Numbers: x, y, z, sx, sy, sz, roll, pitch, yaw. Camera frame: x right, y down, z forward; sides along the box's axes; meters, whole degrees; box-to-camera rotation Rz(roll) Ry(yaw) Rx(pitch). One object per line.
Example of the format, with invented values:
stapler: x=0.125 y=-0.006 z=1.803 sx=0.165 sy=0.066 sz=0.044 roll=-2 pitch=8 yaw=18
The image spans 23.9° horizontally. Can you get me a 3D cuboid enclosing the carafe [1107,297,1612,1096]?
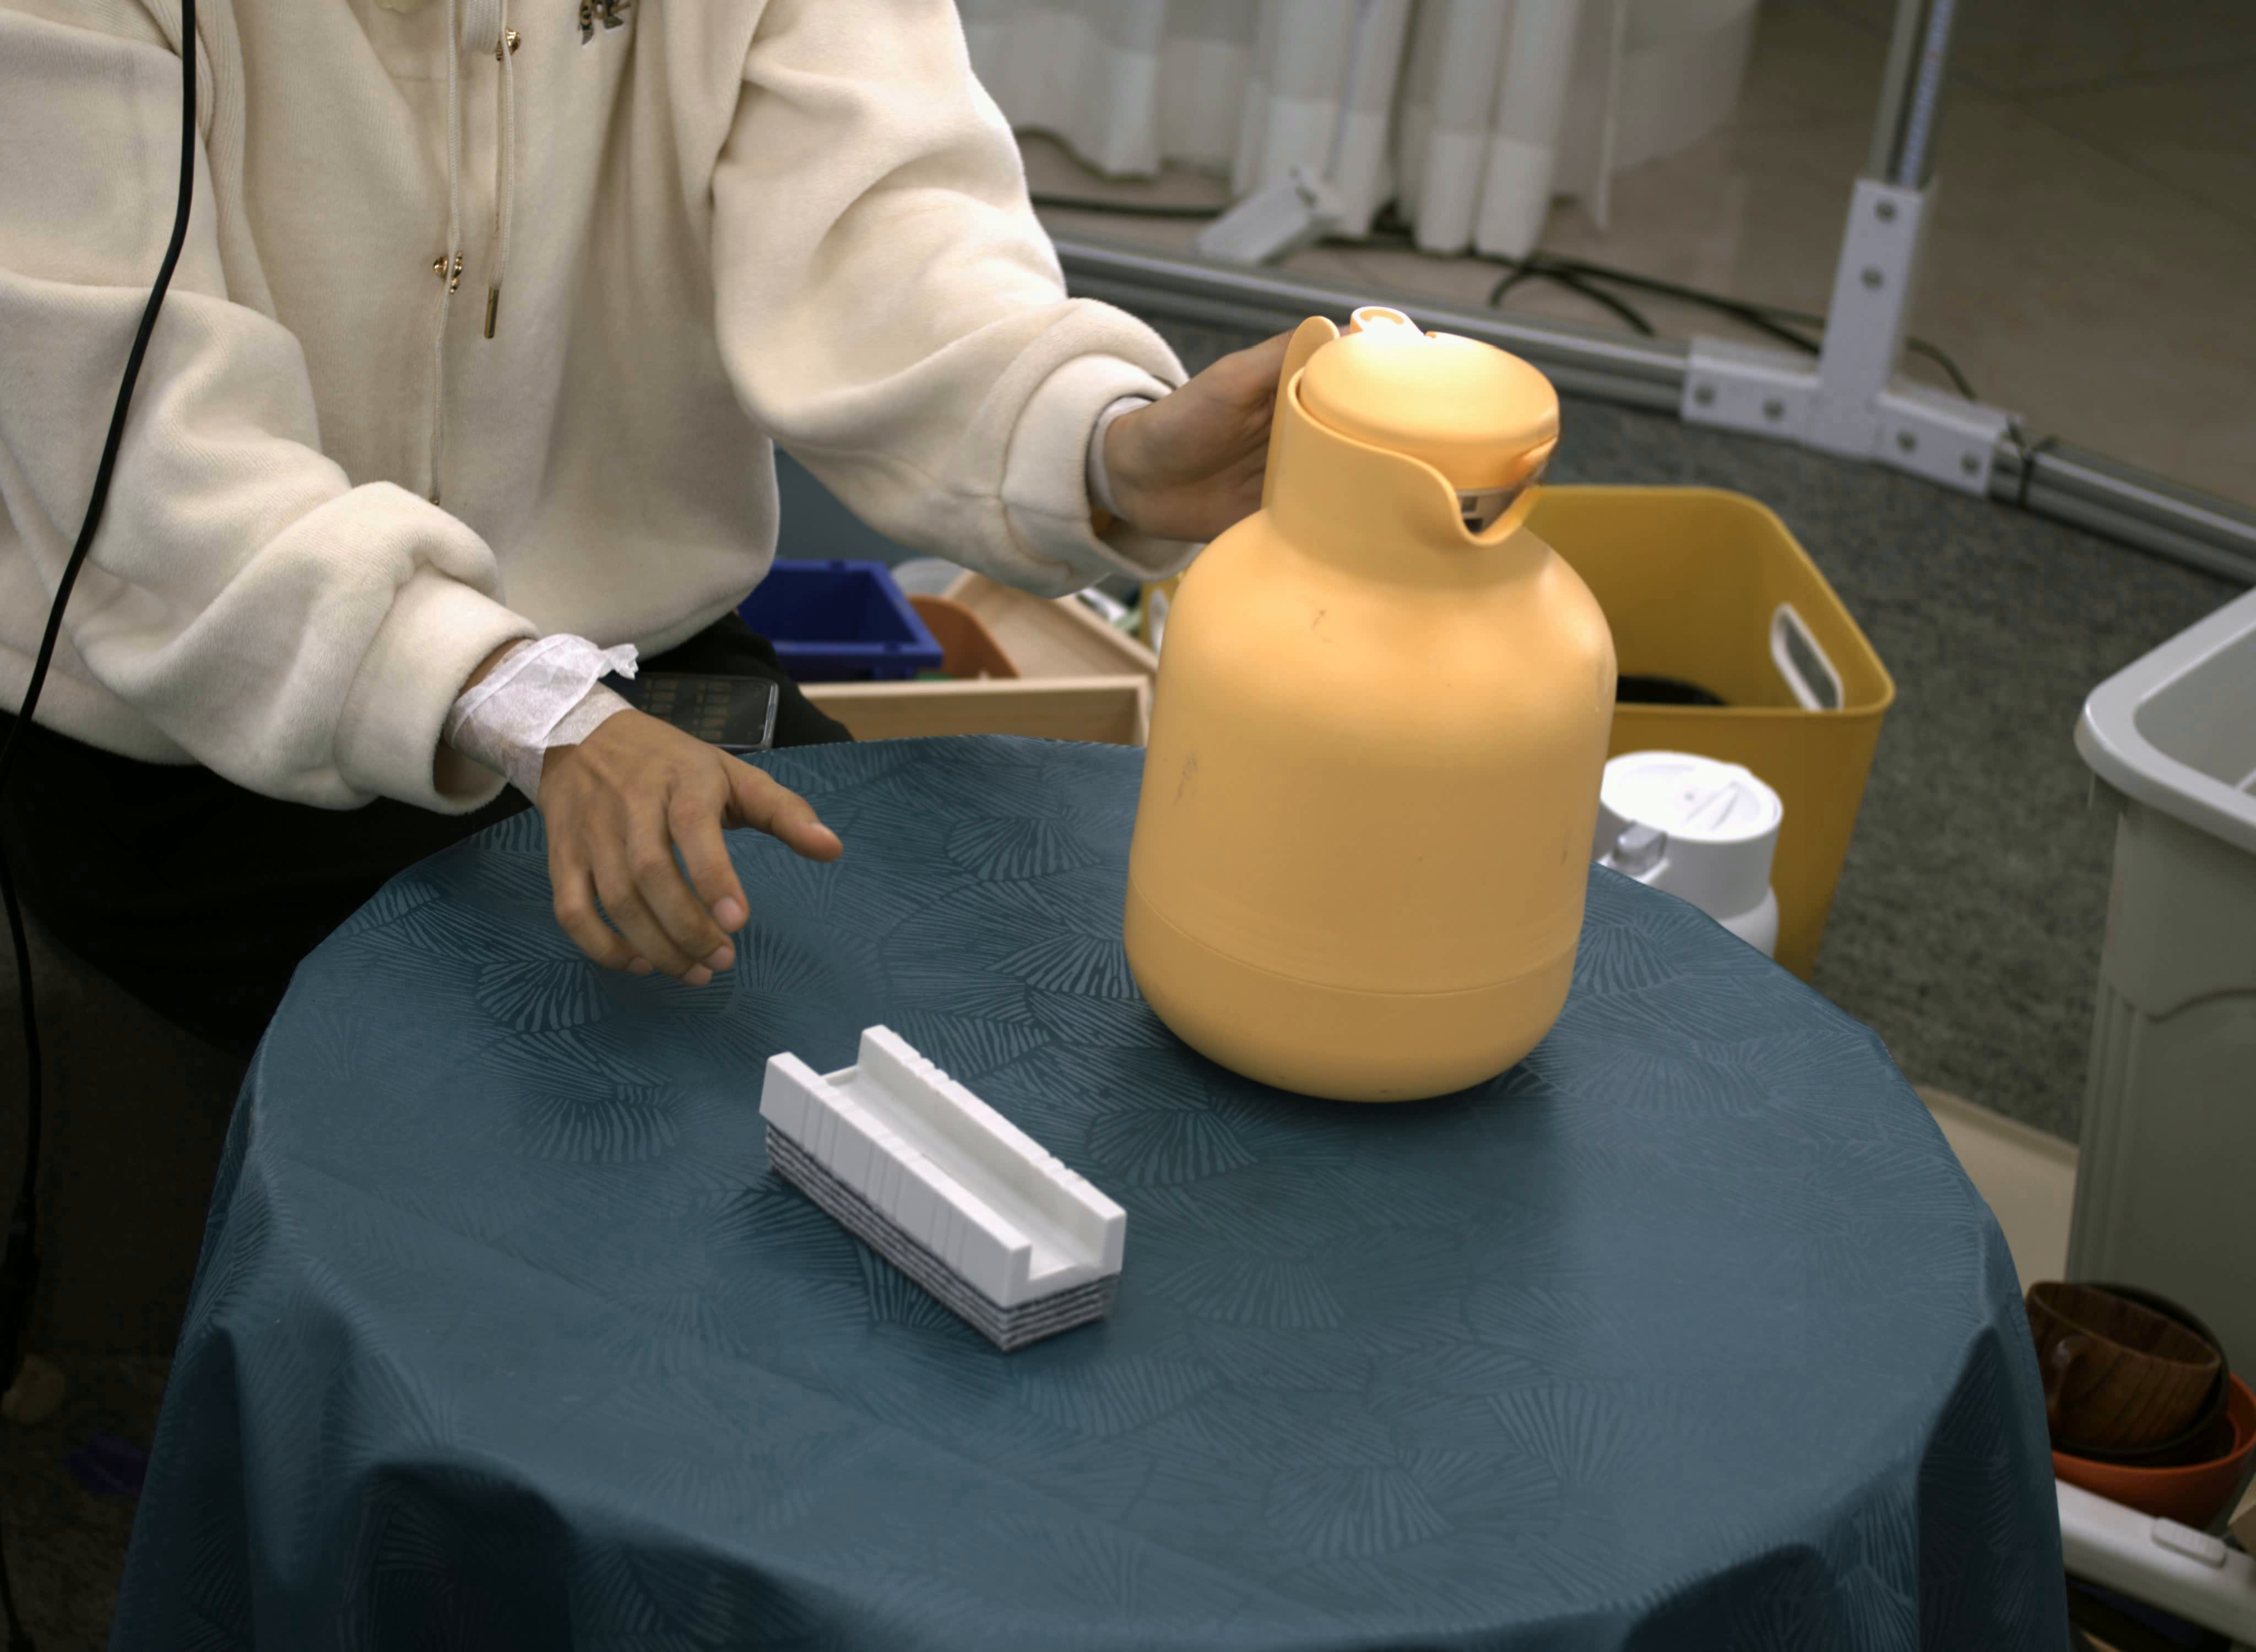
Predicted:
carafe: x=0.084 y=-0.055 z=1.879 sx=0.162 sy=0.259 sz=0.204 roll=3 pitch=28 yaw=-16

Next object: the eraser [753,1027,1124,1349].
eraser: x=-0.064 y=0.118 z=1.747 sx=0.049 sy=0.046 sz=0.135 roll=-20 pitch=38 yaw=-36
